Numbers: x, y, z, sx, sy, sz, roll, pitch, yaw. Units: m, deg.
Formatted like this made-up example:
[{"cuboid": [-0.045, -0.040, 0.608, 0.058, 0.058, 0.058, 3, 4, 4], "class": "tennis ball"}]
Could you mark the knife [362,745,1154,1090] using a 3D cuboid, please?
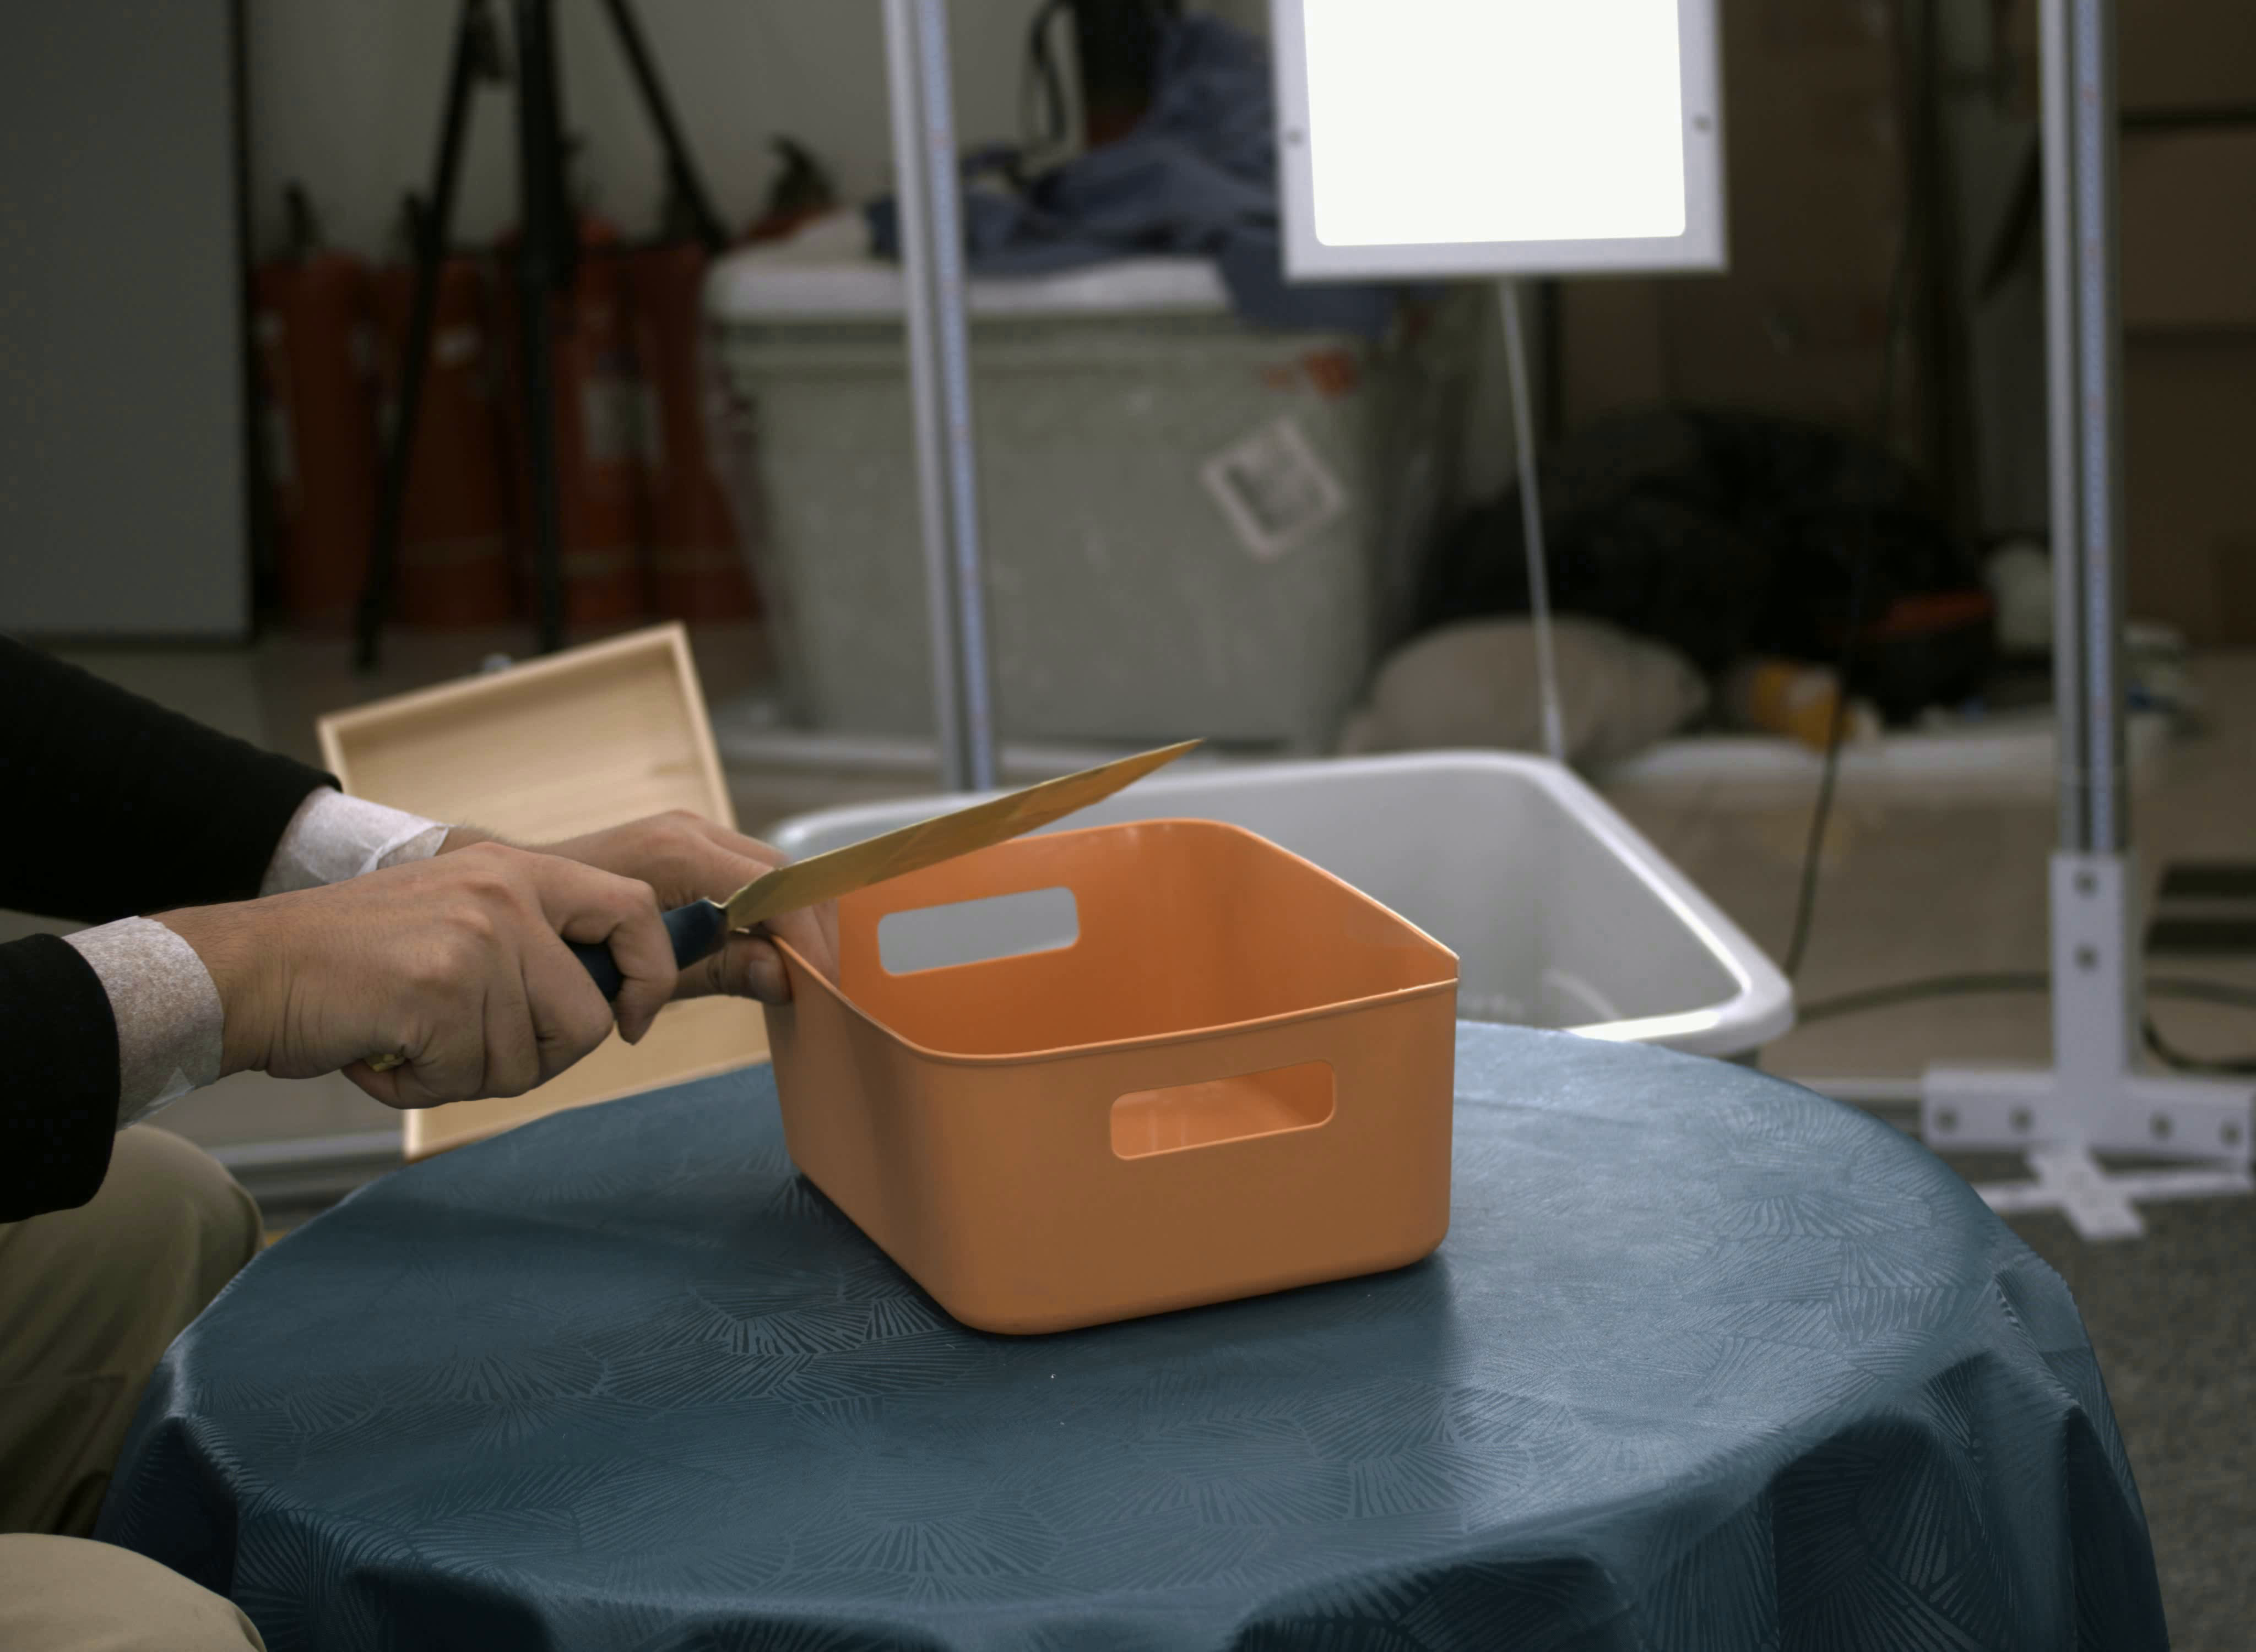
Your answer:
[{"cuboid": [-0.112, 0.024, 1.769, 0.284, 0.027, 0.082, -22, -12, -24], "class": "knife"}]

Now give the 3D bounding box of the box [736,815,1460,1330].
[{"cuboid": [-0.013, 0.081, 1.868, 0.196, 0.103, 0.276, -8, 14, -17], "class": "box"}]
